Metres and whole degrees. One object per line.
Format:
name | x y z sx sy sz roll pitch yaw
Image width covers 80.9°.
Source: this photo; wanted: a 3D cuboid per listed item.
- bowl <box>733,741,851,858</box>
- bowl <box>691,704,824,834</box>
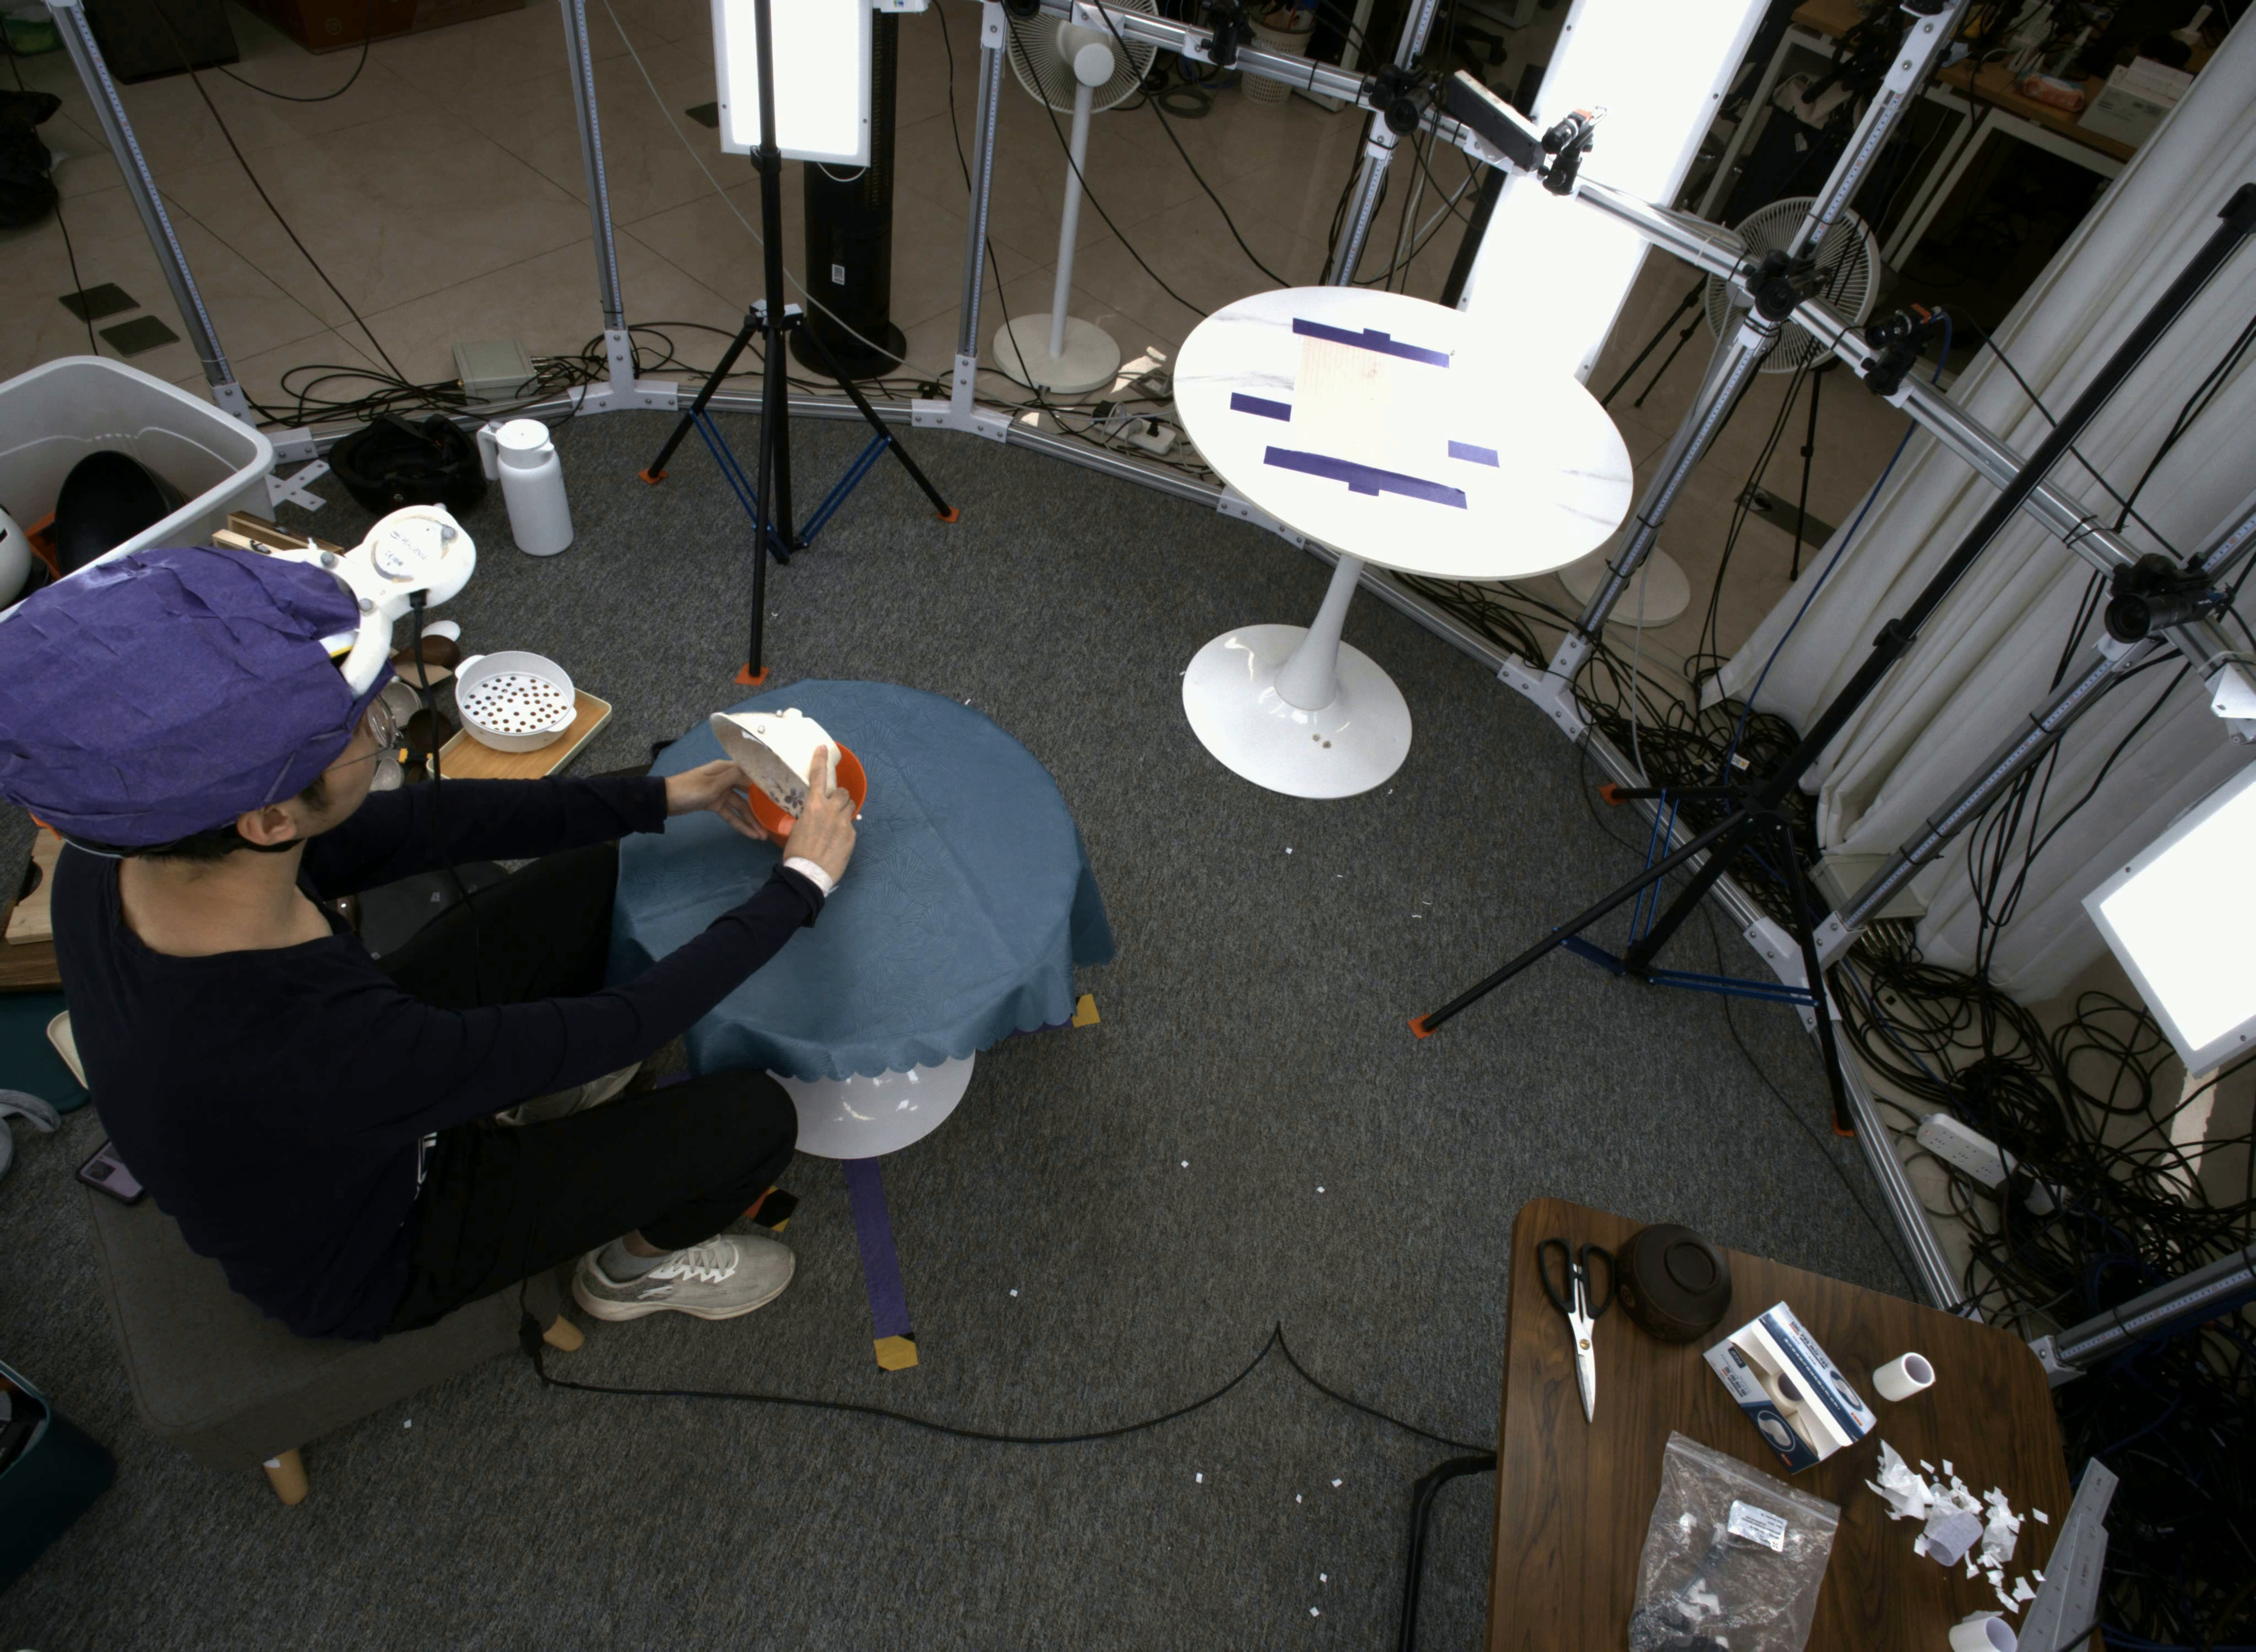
bowl | -0.435 -0.024 1.684 0.148 0.106 0.146 7 57 -9
bowl | -0.427 -0.089 1.567 0.200 0.208 0.078 33 69 14
